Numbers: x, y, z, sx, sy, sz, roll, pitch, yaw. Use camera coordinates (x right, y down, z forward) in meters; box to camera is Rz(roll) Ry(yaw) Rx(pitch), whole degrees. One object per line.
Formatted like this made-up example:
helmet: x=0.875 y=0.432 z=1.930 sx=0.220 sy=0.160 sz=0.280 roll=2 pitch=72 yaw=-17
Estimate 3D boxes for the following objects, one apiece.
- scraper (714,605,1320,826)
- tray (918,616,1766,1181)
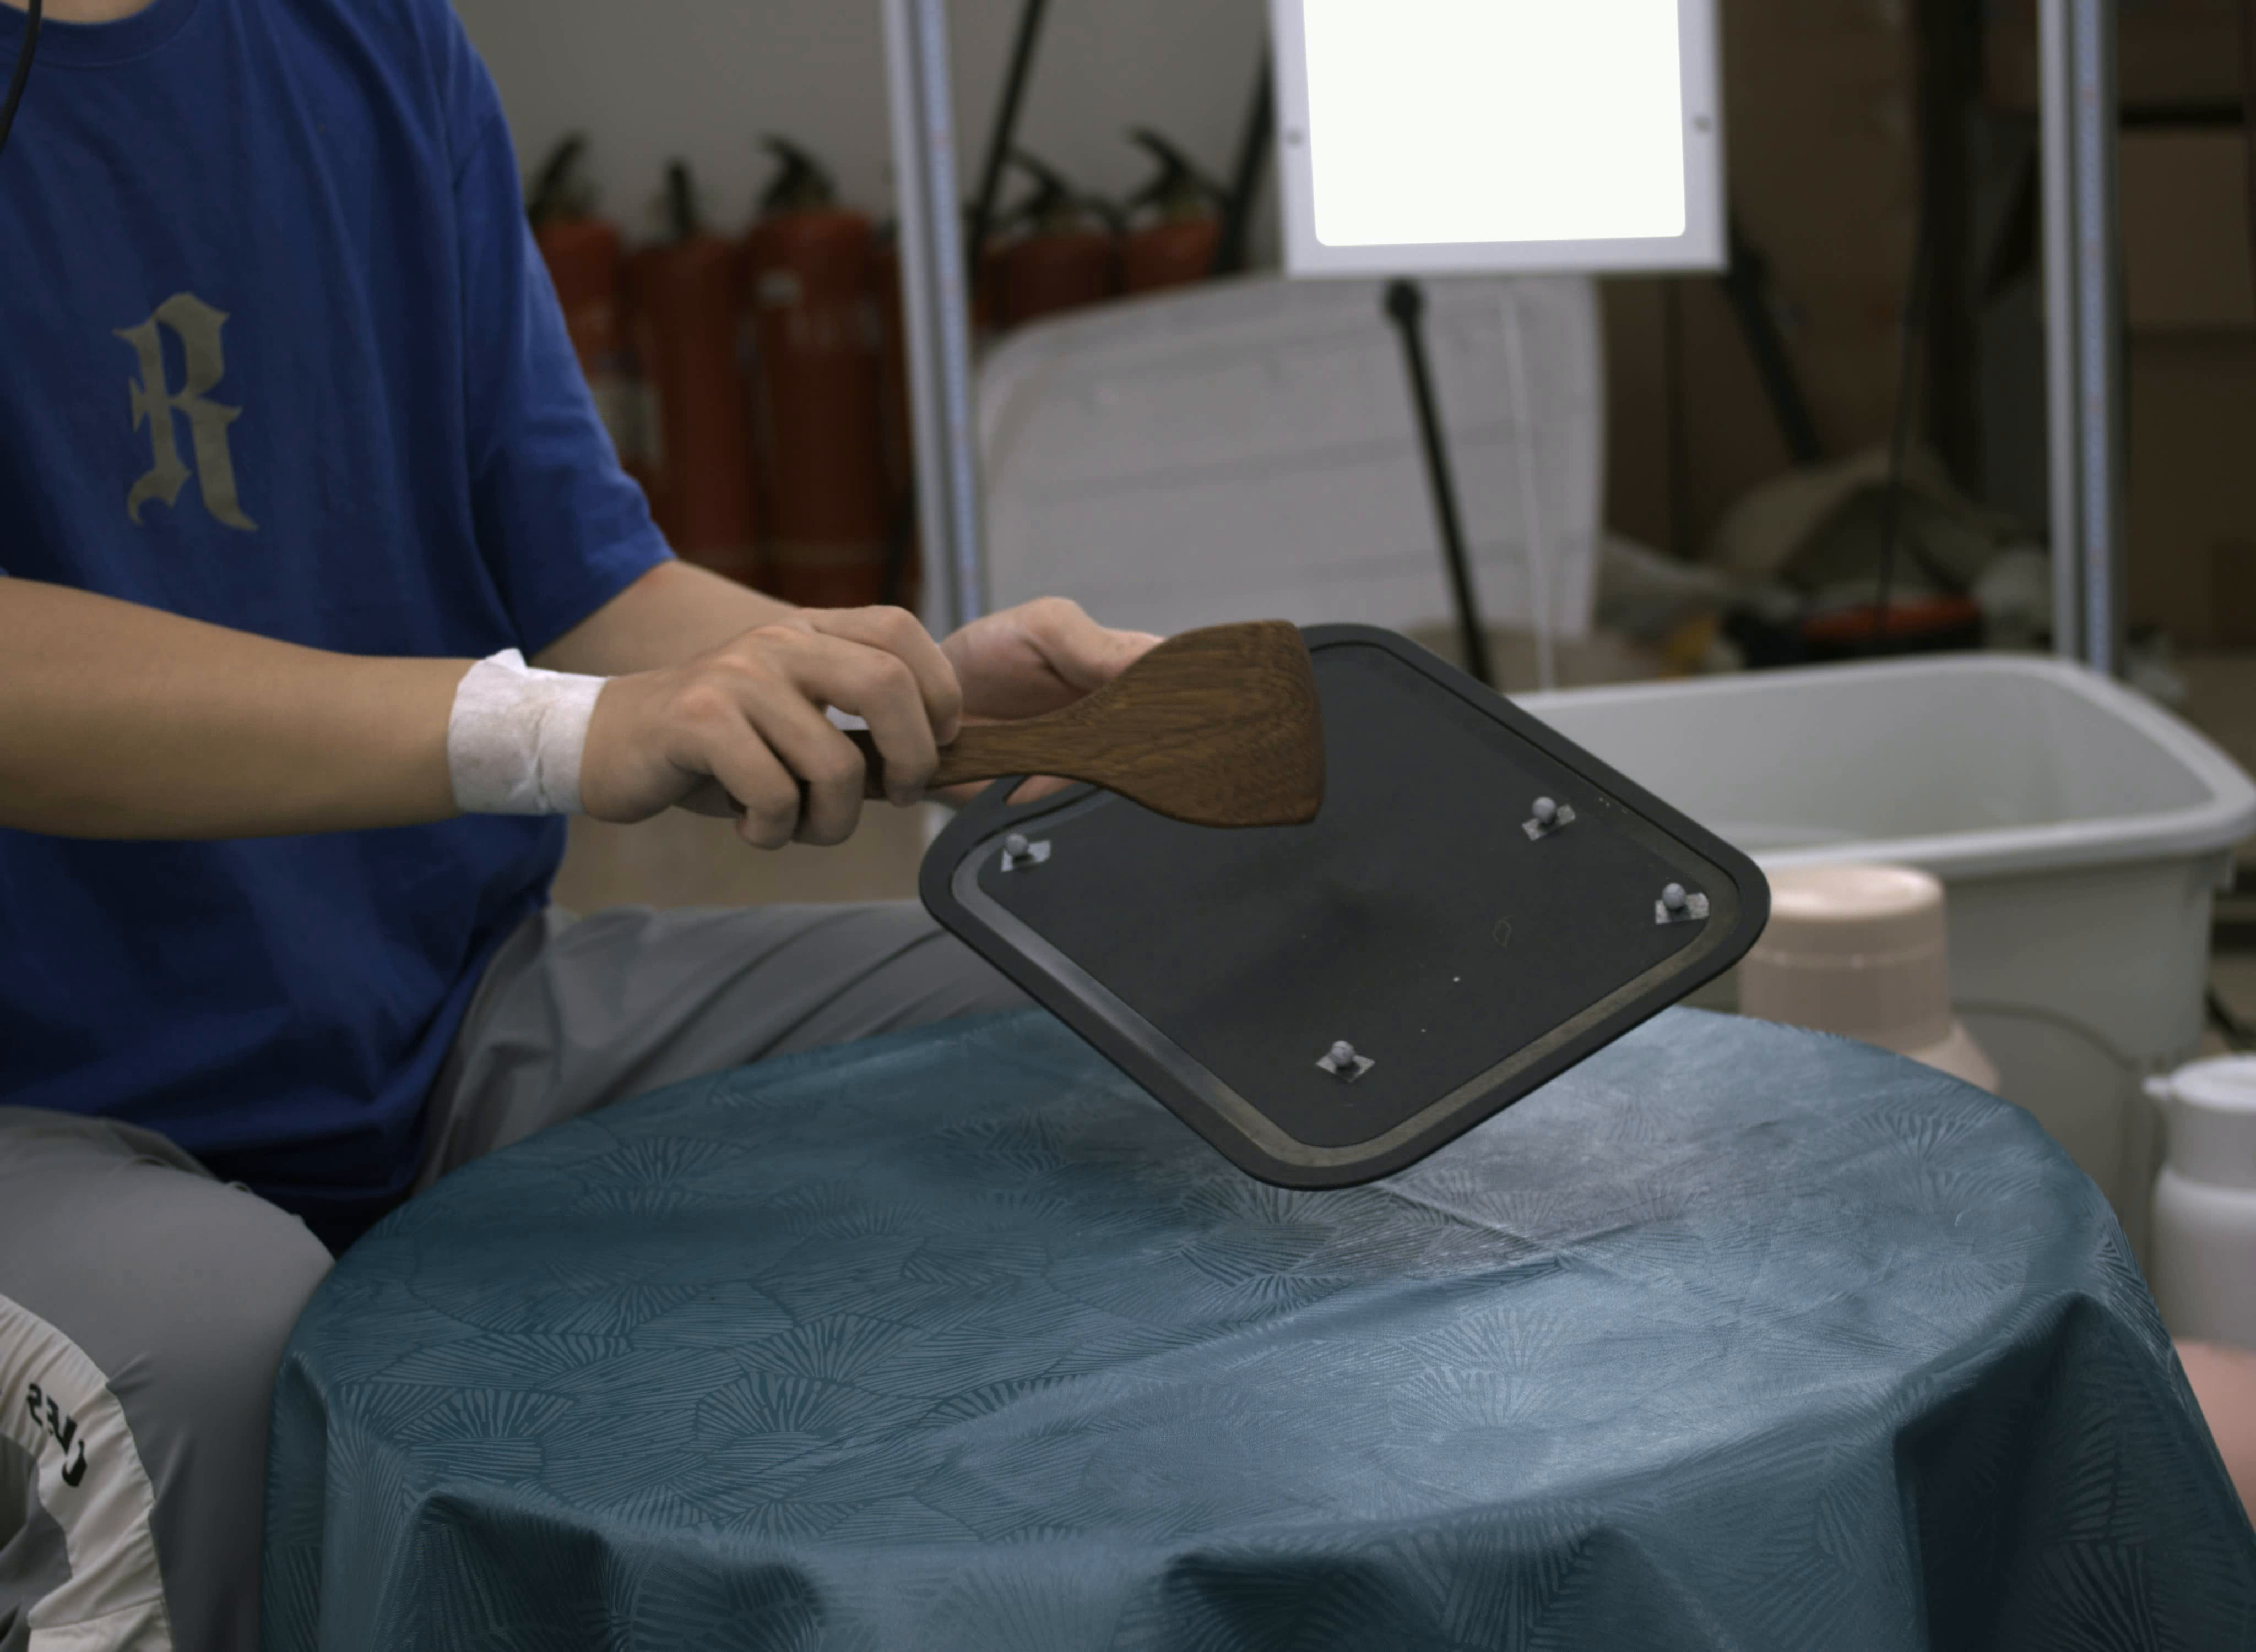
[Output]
scraper: x=-0.037 y=-0.028 z=1.893 sx=0.210 sy=0.076 sz=0.011 roll=-8 pitch=-6 yaw=-4
tray: x=0.064 y=0.015 z=1.917 sx=0.208 sy=0.010 sz=0.330 roll=-31 pitch=34 yaw=-15
